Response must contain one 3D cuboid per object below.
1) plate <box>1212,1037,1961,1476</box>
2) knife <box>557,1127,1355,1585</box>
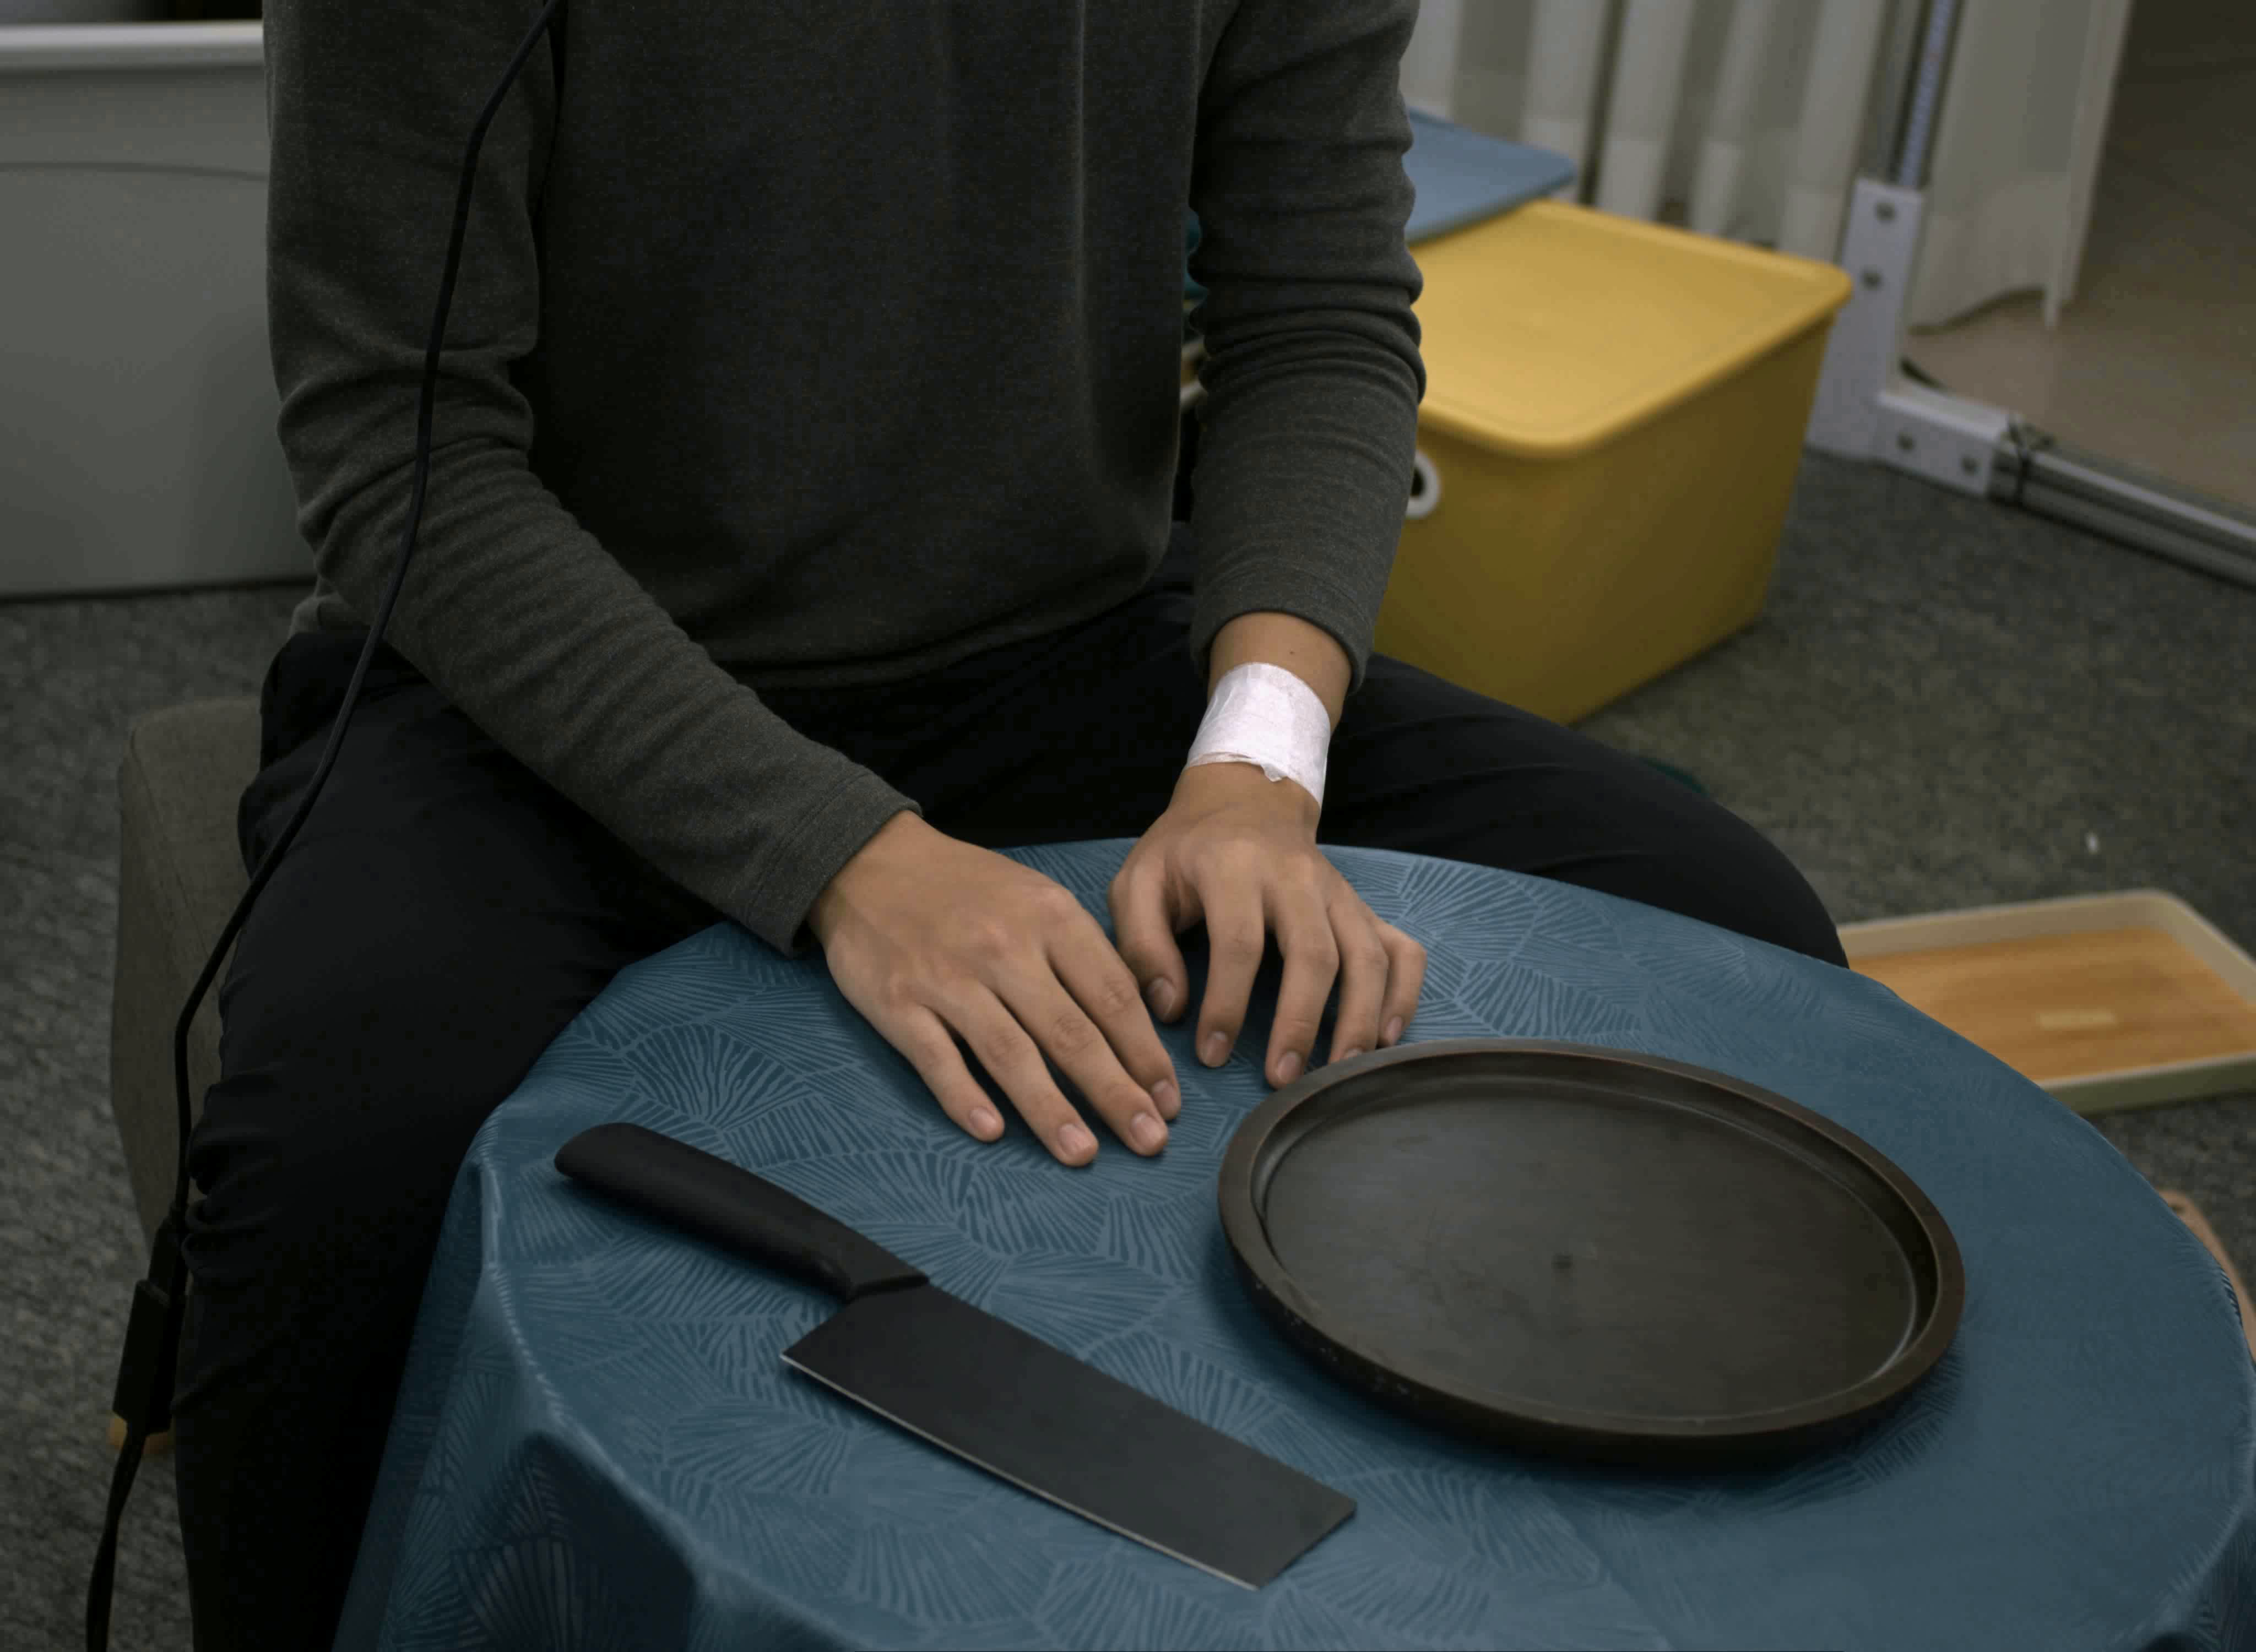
[{"bbox_3d":[0.152,0.142,1.780,0.254,0.029,0.256,4,28,-3],"label":"plate"},{"bbox_3d":[-0.065,0.166,1.694,0.304,0.021,0.080,26,34,31],"label":"knife"}]
